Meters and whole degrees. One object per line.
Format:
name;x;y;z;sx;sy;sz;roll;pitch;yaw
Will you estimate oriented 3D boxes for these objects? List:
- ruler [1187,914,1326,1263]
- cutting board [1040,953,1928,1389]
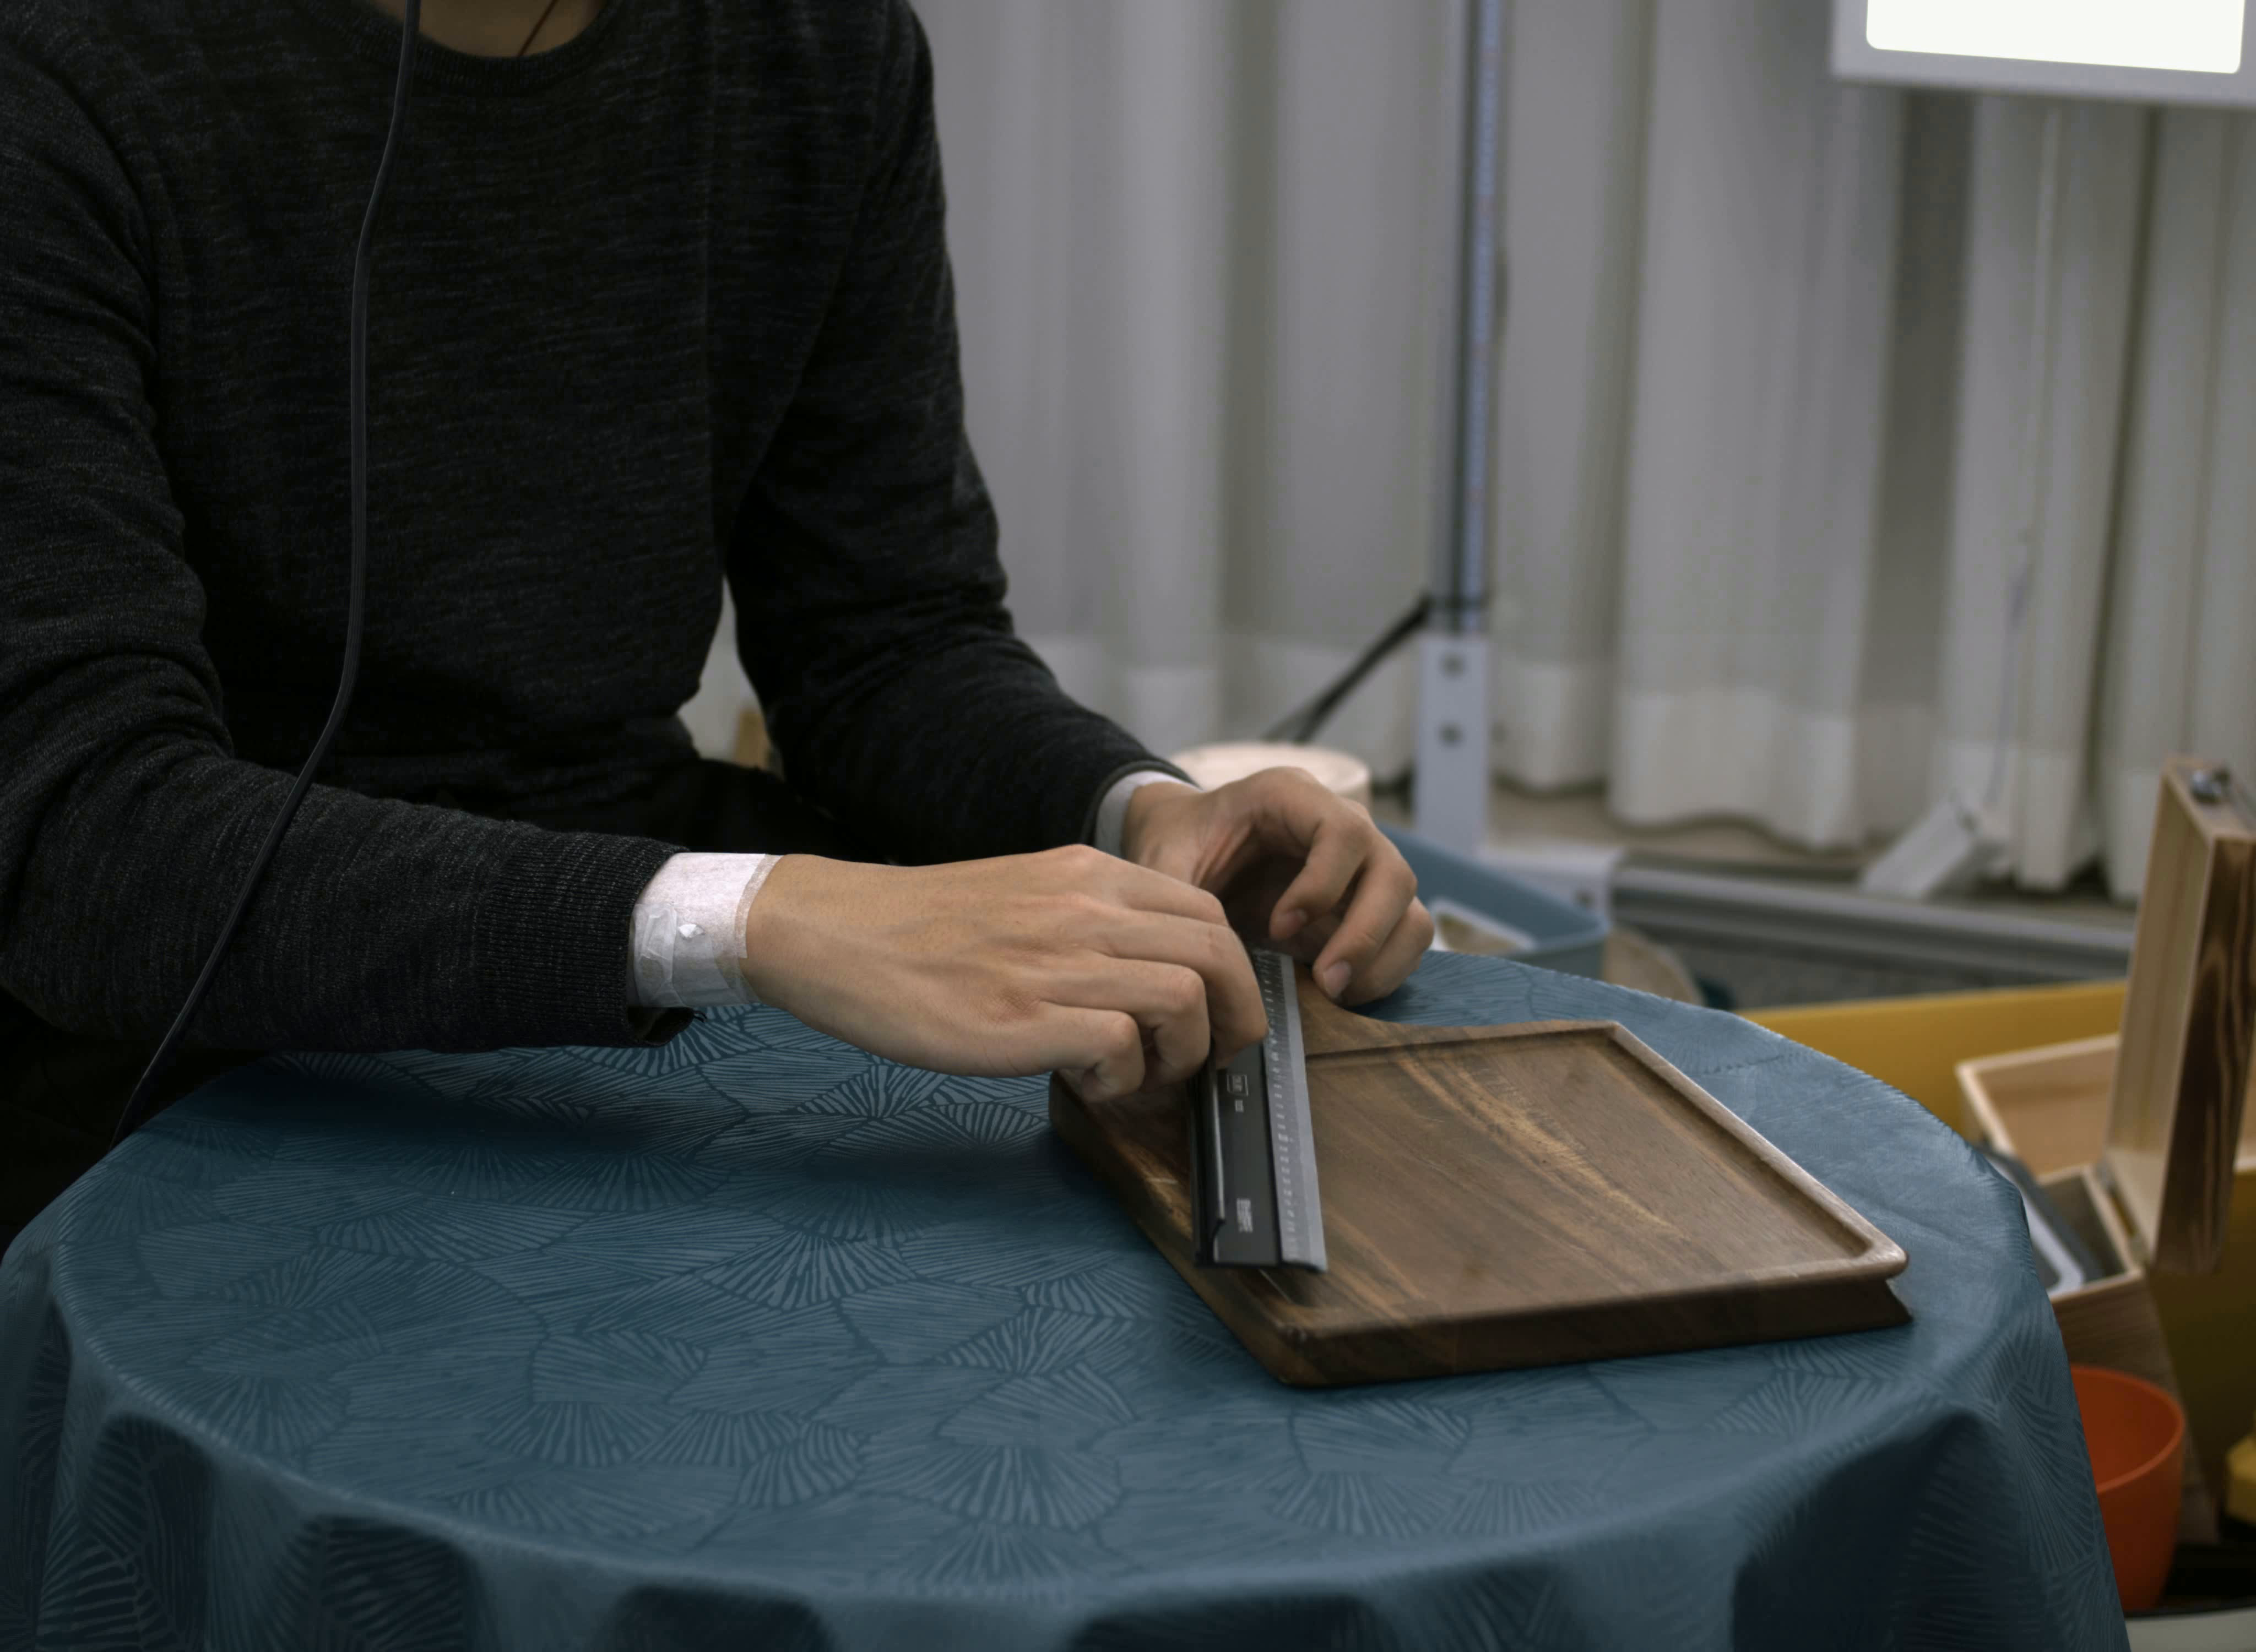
ruler;0.039;0.076;1.618;0.039;0.017;0.311;6;15;-1
cutting board;0.087;0.097;1.641;0.201;0.023;0.348;-4;16;-17
